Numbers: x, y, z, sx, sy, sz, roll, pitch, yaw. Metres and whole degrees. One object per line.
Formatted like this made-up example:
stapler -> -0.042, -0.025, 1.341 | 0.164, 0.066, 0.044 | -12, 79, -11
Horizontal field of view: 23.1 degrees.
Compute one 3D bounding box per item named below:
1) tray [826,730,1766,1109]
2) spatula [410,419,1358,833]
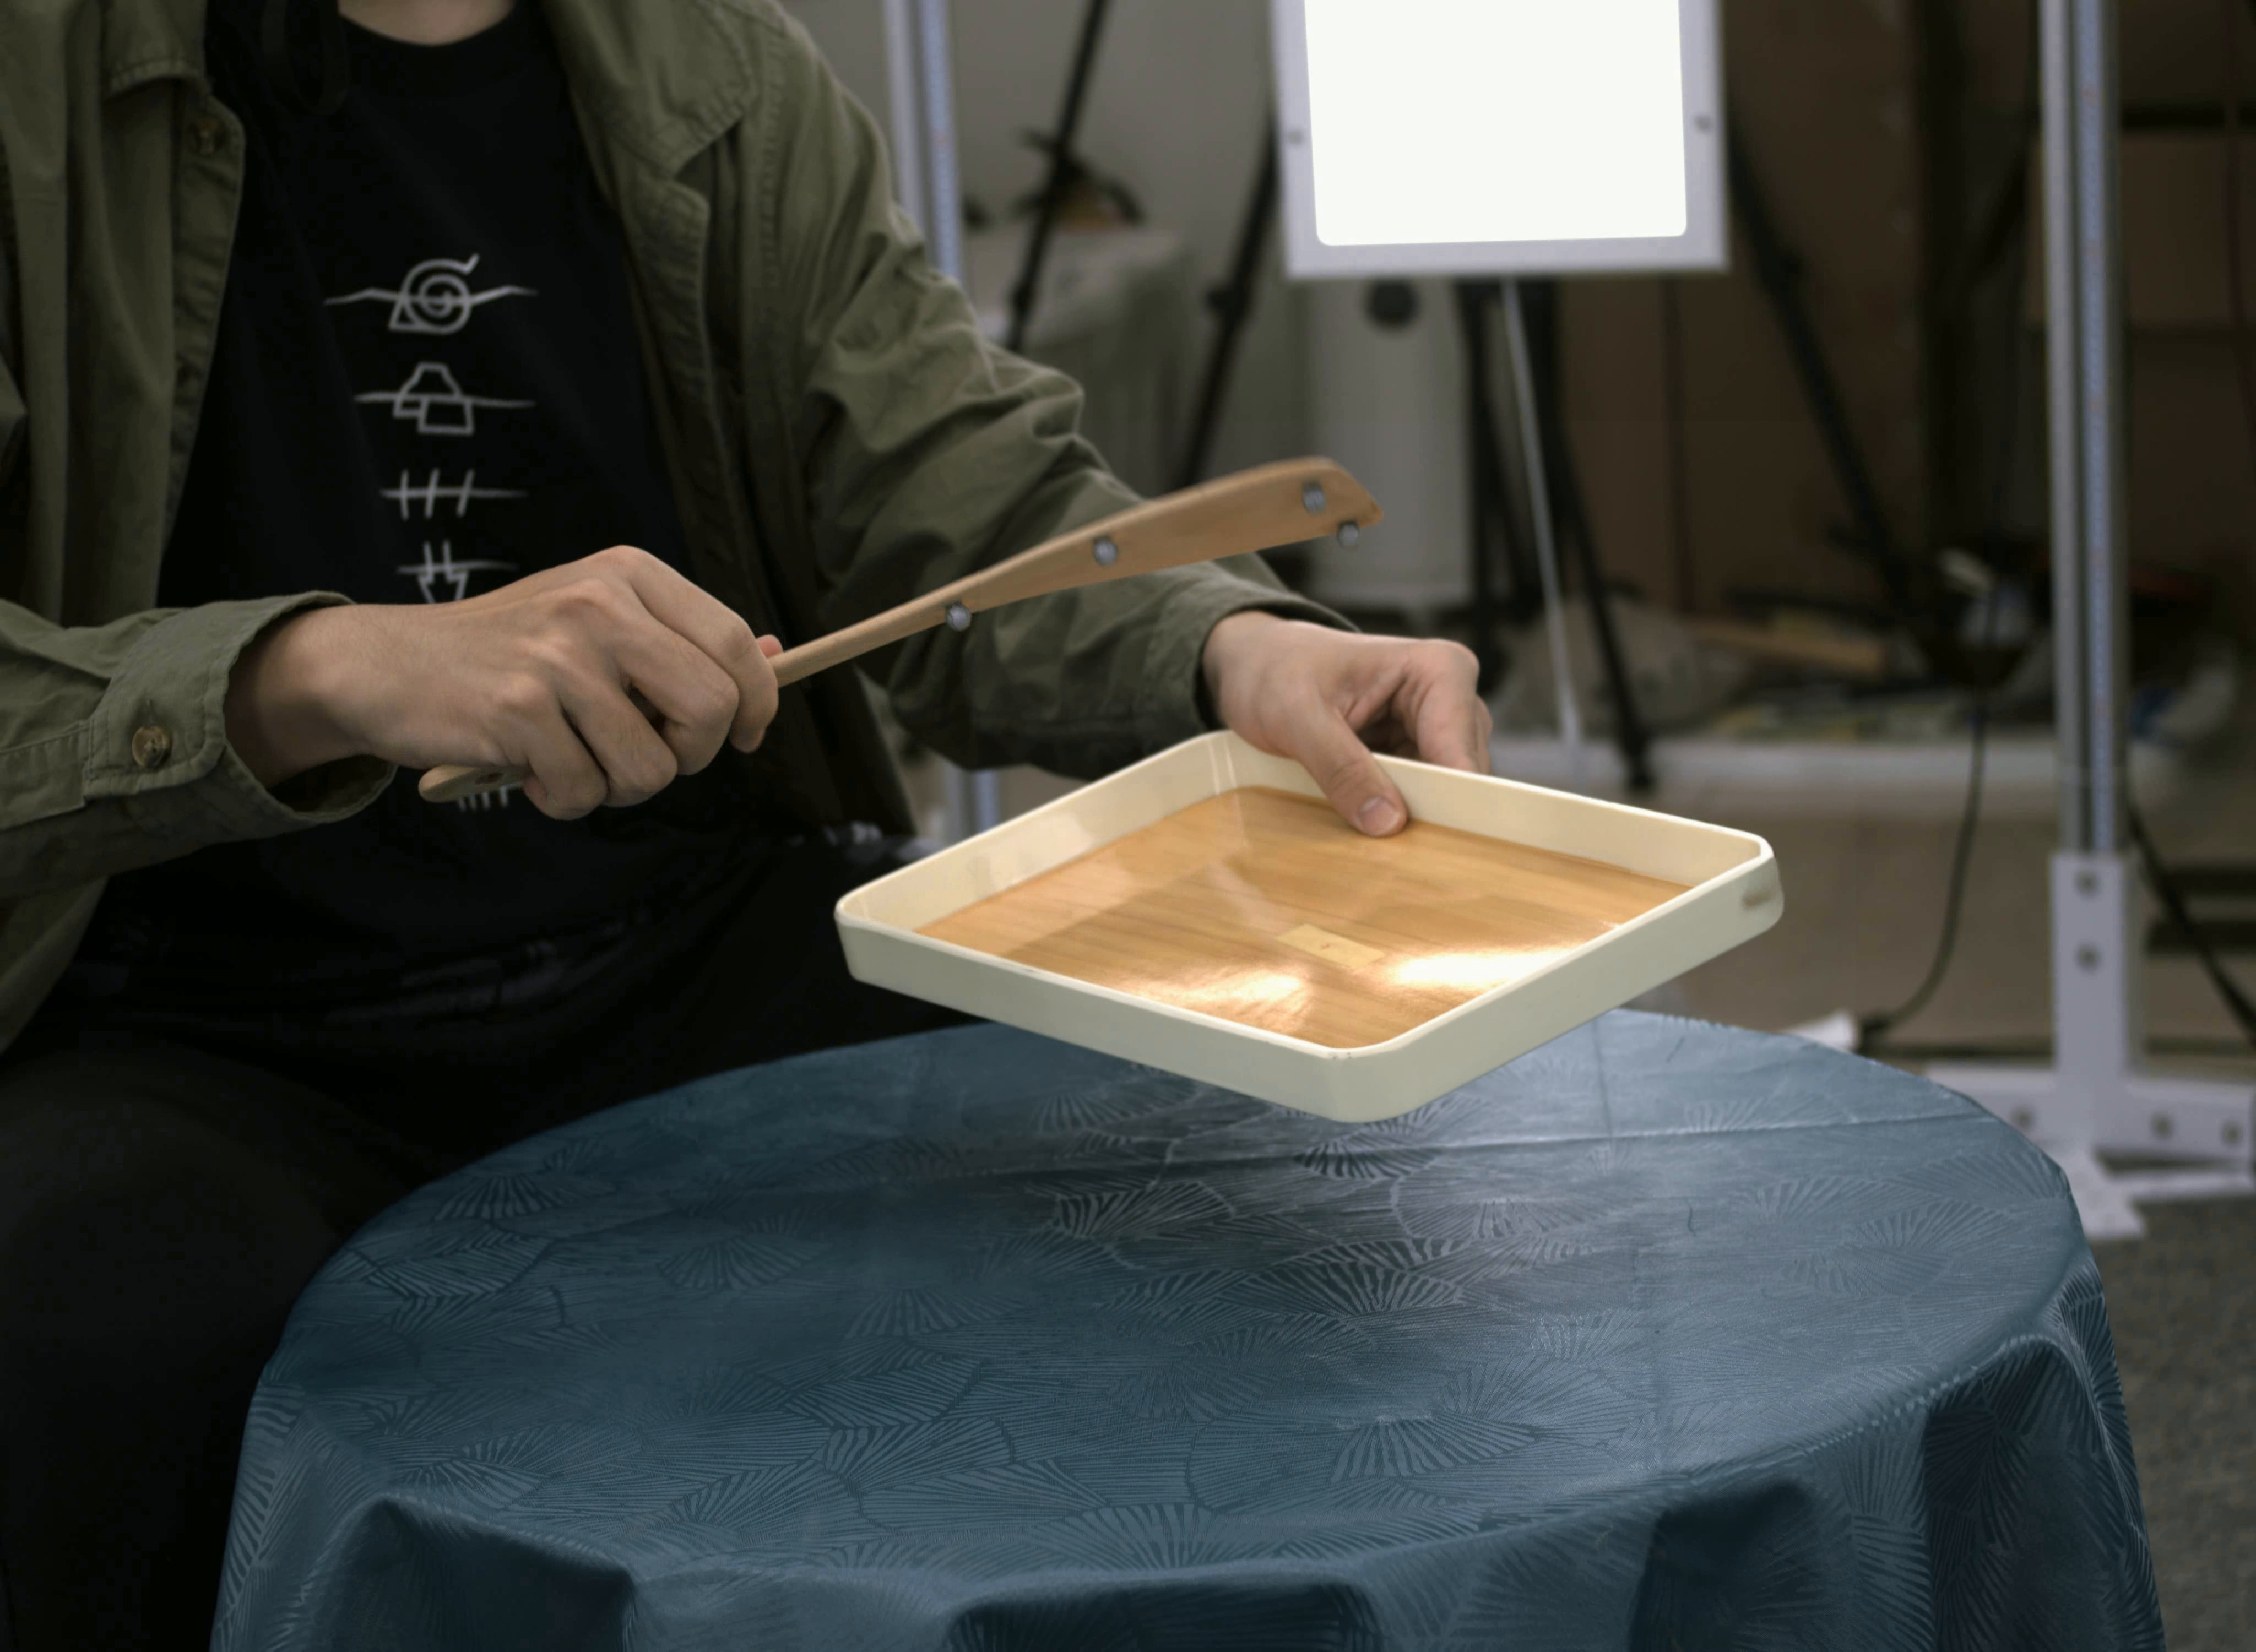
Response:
tray -> 0.052, 0.027, 1.846 | 0.187, 0.027, 0.306 | -24, 21, -30
spatula -> -0.082, -0.062, 1.778 | 0.328, 0.016, 0.079 | -24, -18, 6
